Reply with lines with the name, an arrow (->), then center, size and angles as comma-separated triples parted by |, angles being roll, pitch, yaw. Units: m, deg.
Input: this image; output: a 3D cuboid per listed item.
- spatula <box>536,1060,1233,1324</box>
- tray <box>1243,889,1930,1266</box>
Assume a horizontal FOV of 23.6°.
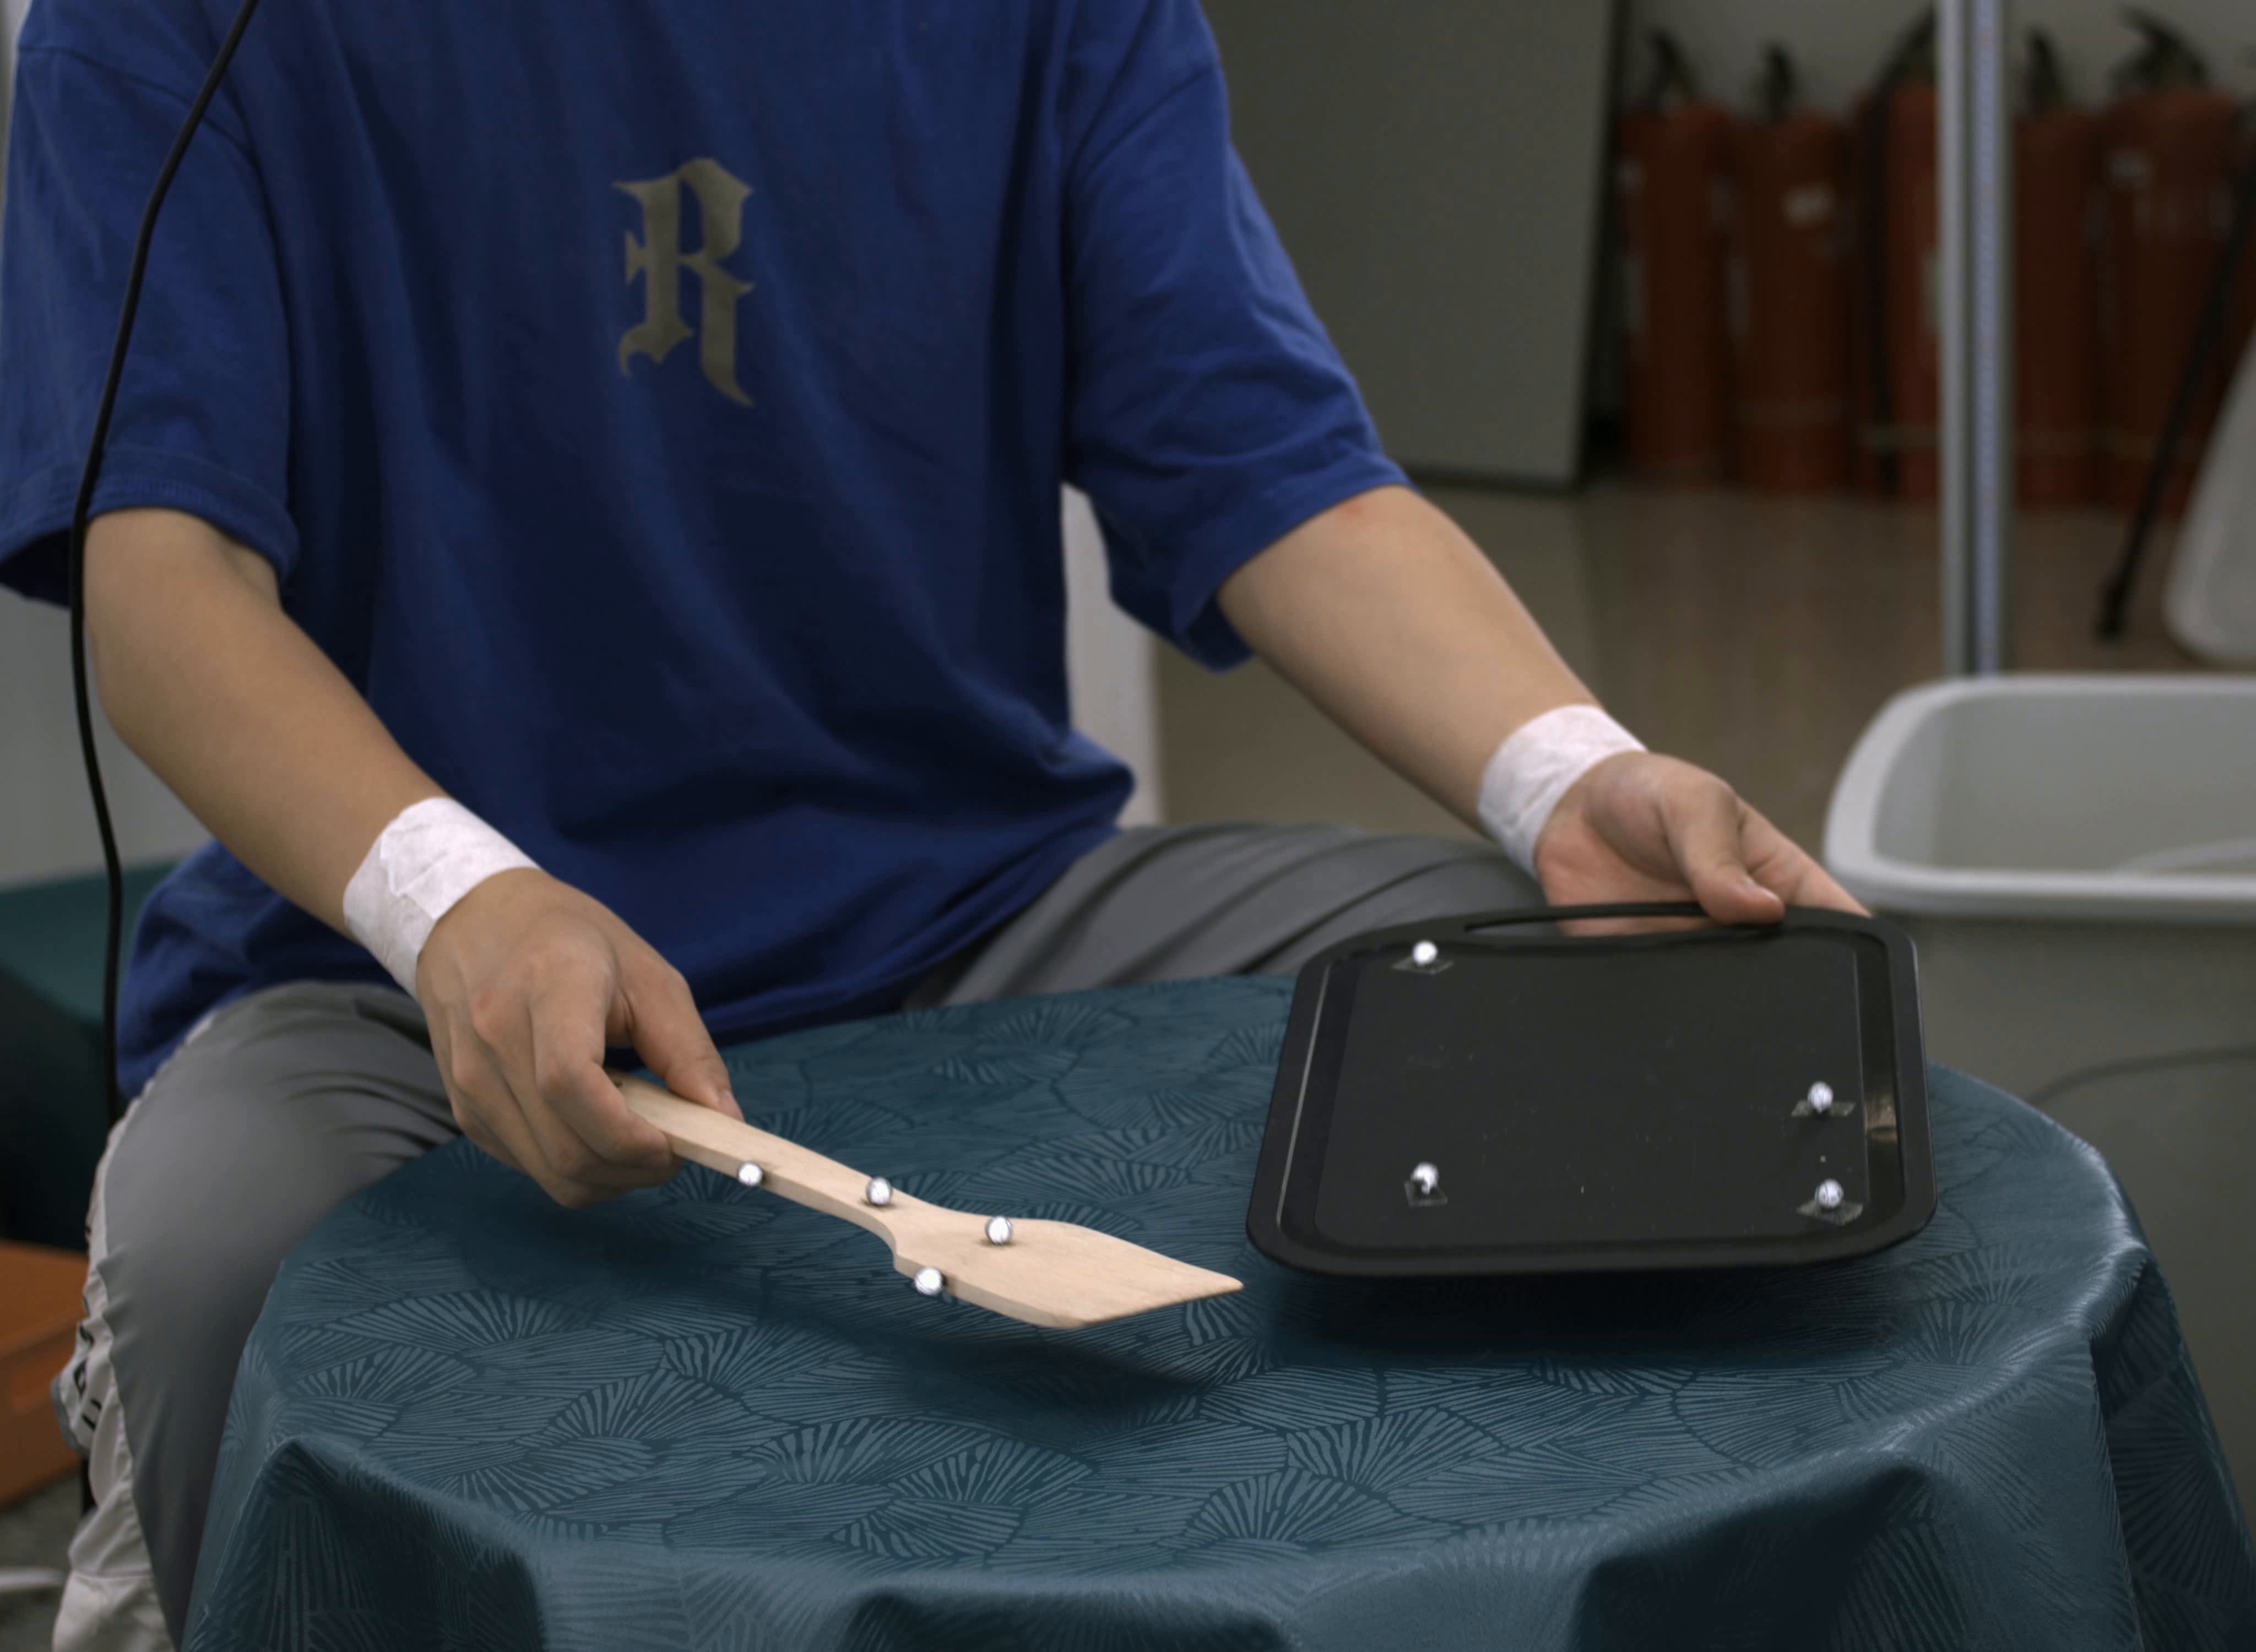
spatula -> -0.089, 0.111, 1.667 | 0.070, 0.011, 0.296 | -9, 17, -41
tray -> 0.150, 0.074, 1.724 | 0.209, 0.010, 0.325 | -3, 18, 9
